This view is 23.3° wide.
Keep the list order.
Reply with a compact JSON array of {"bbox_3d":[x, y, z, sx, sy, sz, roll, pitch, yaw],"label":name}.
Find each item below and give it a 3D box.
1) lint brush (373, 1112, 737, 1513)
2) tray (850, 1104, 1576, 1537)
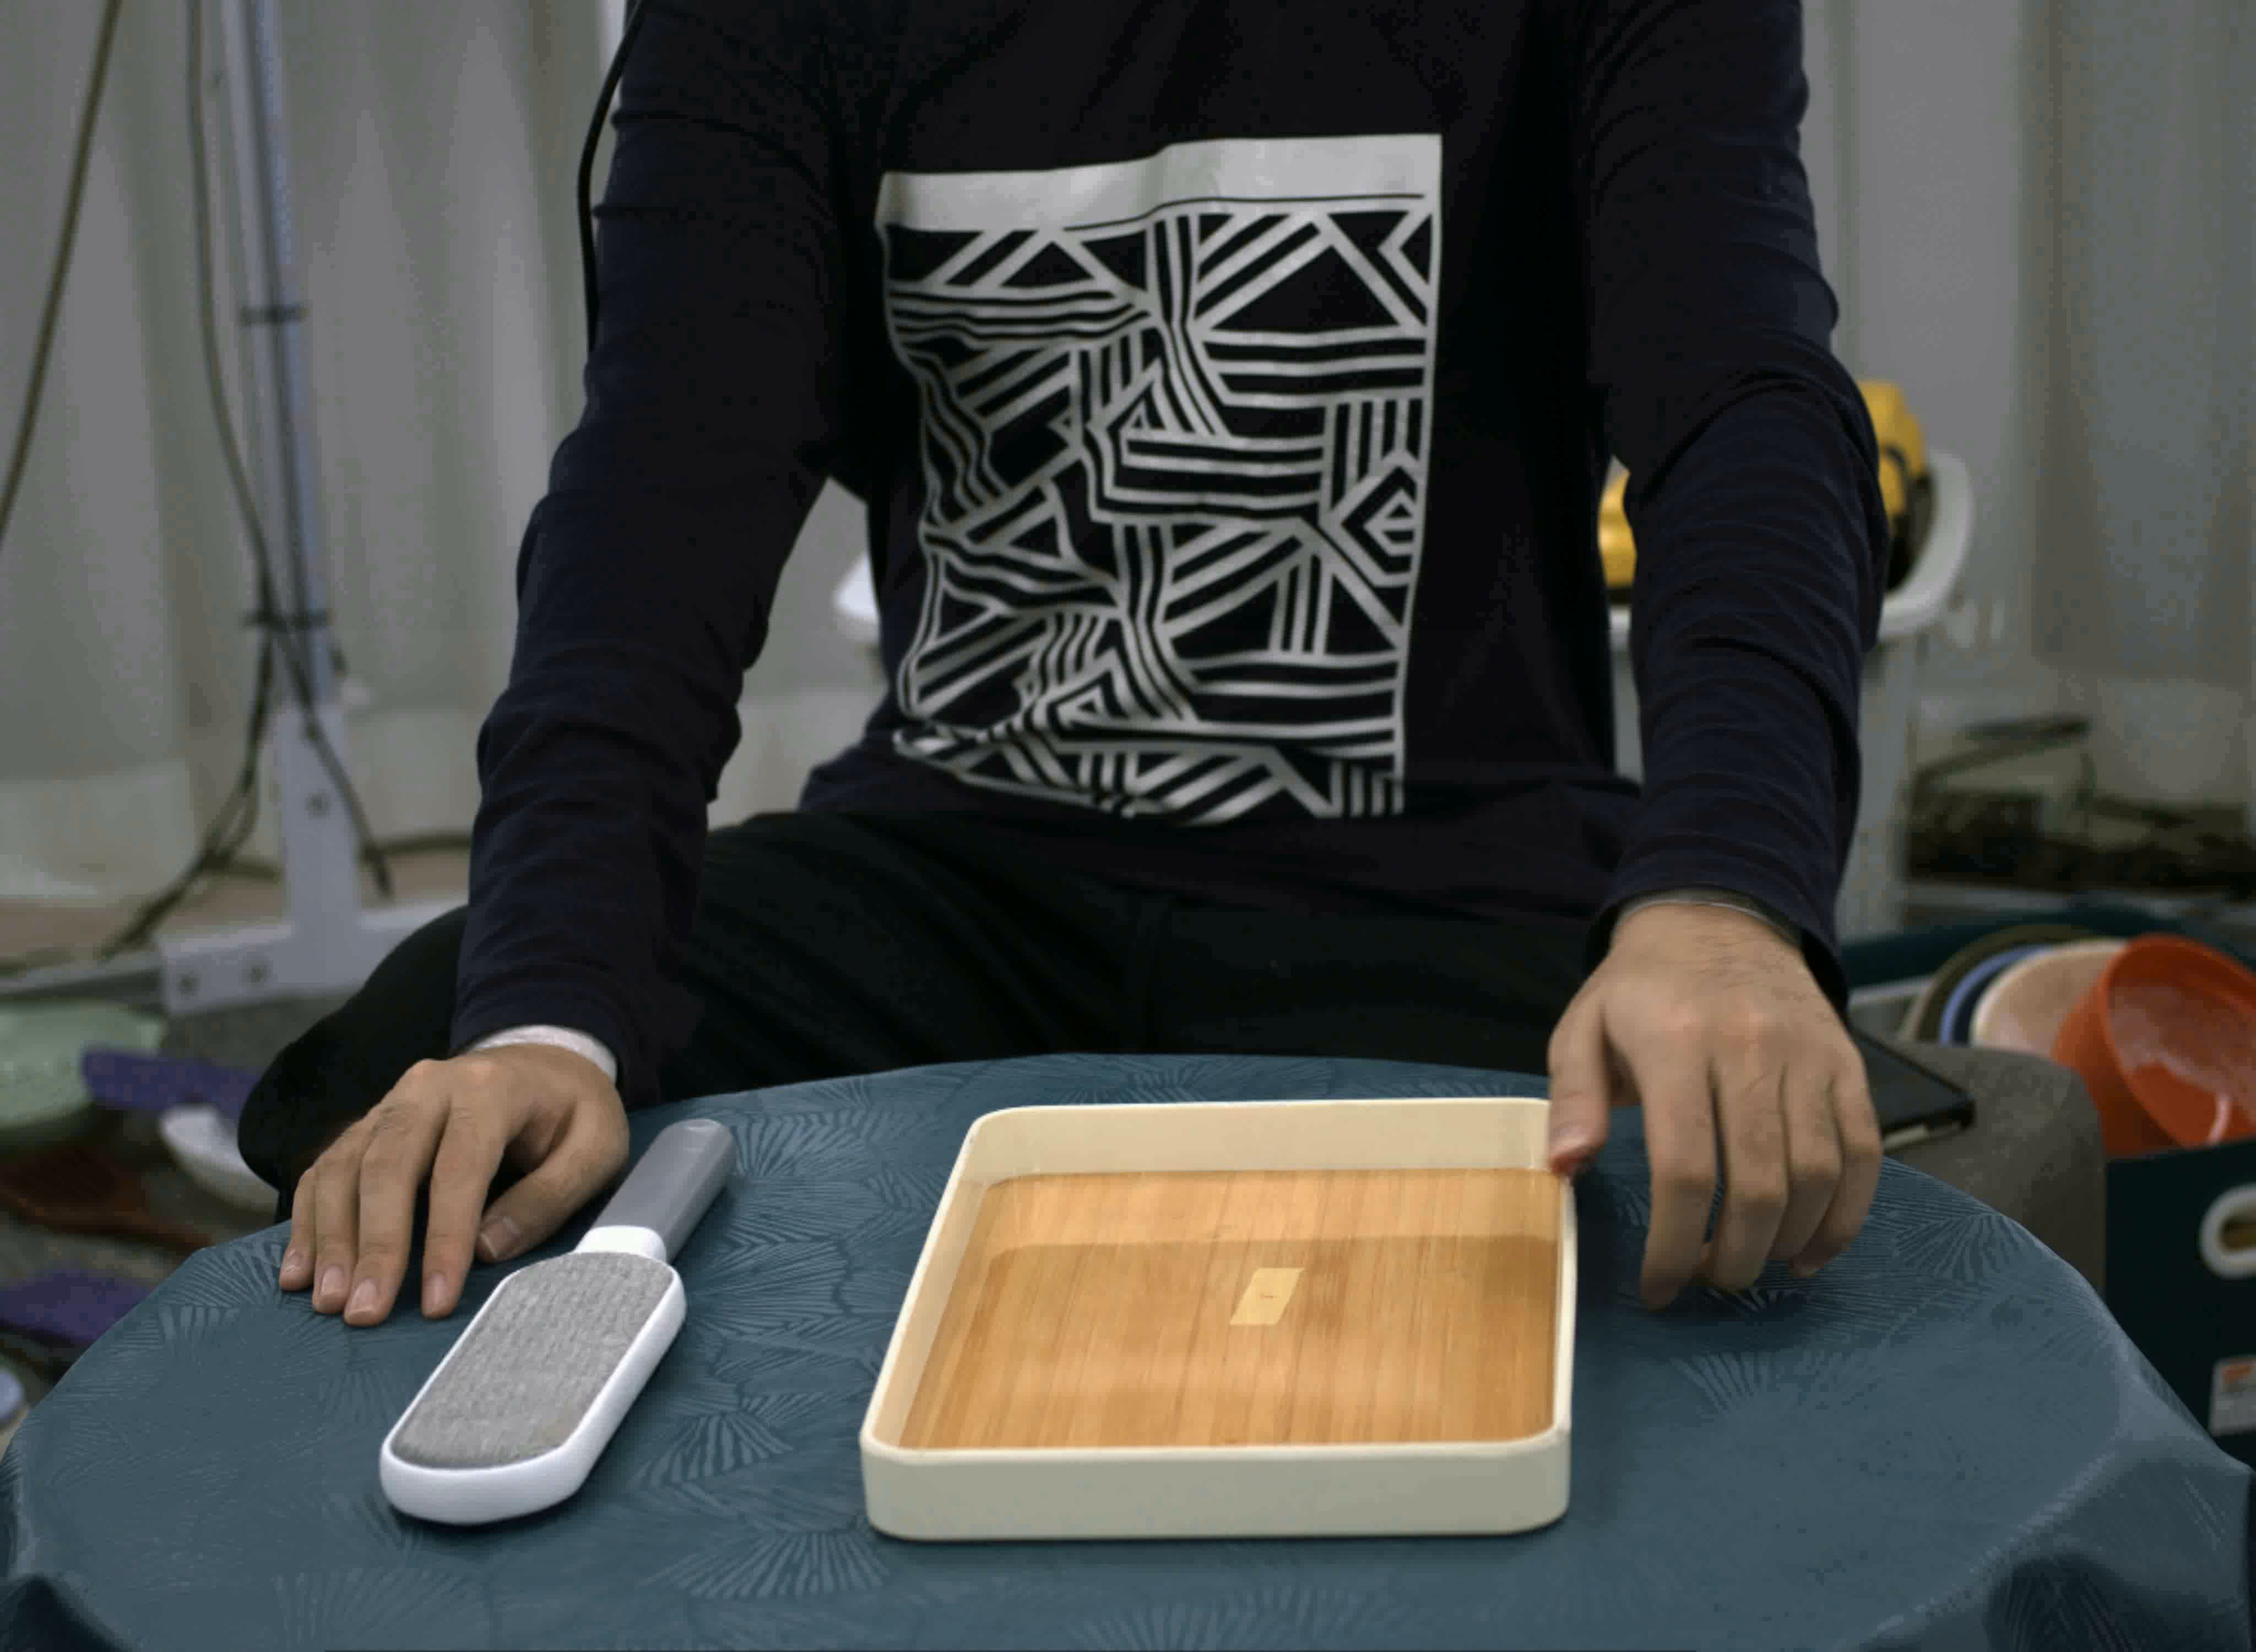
[{"bbox_3d":[-0.157,0.138,1.606,0.060,0.021,0.310,-6,14,10],"label":"lint brush"},{"bbox_3d":[0.032,0.138,1.574,0.191,0.027,0.302,-1,14,6],"label":"tray"}]
